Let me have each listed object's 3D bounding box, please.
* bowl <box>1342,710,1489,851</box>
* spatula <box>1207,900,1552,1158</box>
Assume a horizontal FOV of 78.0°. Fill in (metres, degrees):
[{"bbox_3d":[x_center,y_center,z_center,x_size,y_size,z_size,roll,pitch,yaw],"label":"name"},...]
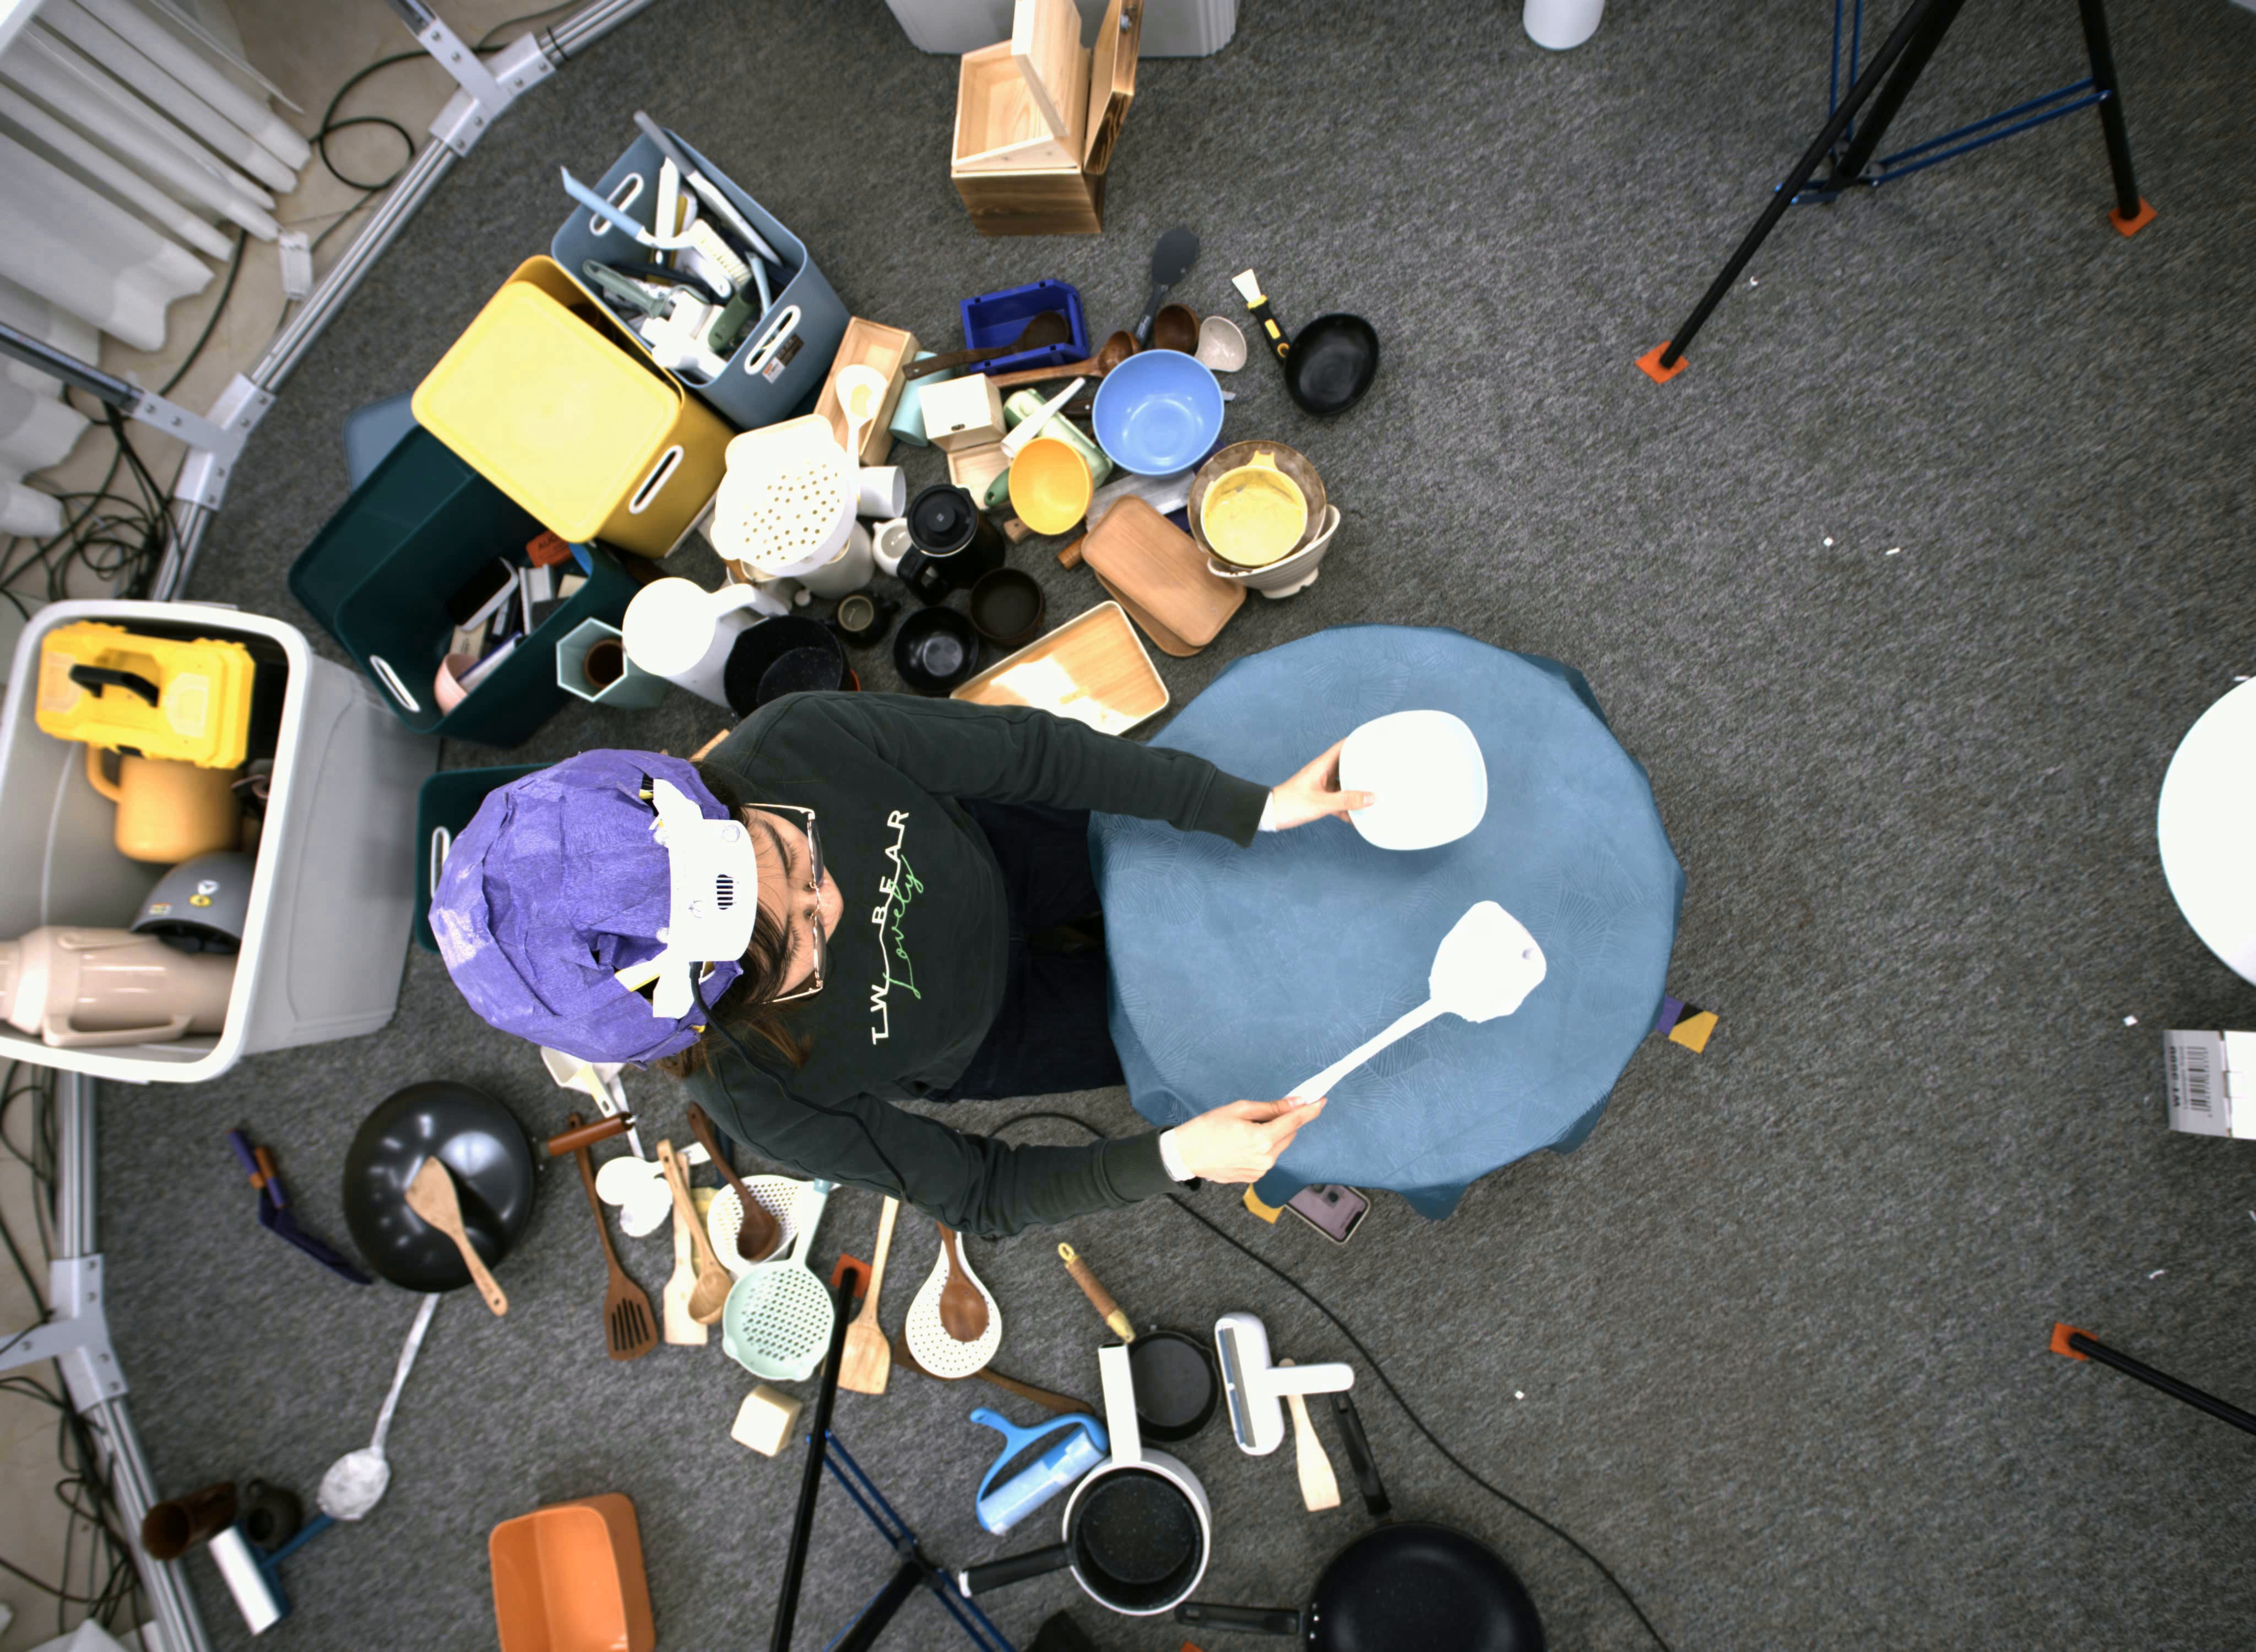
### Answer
[{"bbox_3d":[0.284,-0.052,1.359,0.152,0.057,0.154,4,110,13],"label":"bowl"},{"bbox_3d":[0.224,0.202,1.278,0.365,0.045,0.097,-34,60,1],"label":"spatula"}]
